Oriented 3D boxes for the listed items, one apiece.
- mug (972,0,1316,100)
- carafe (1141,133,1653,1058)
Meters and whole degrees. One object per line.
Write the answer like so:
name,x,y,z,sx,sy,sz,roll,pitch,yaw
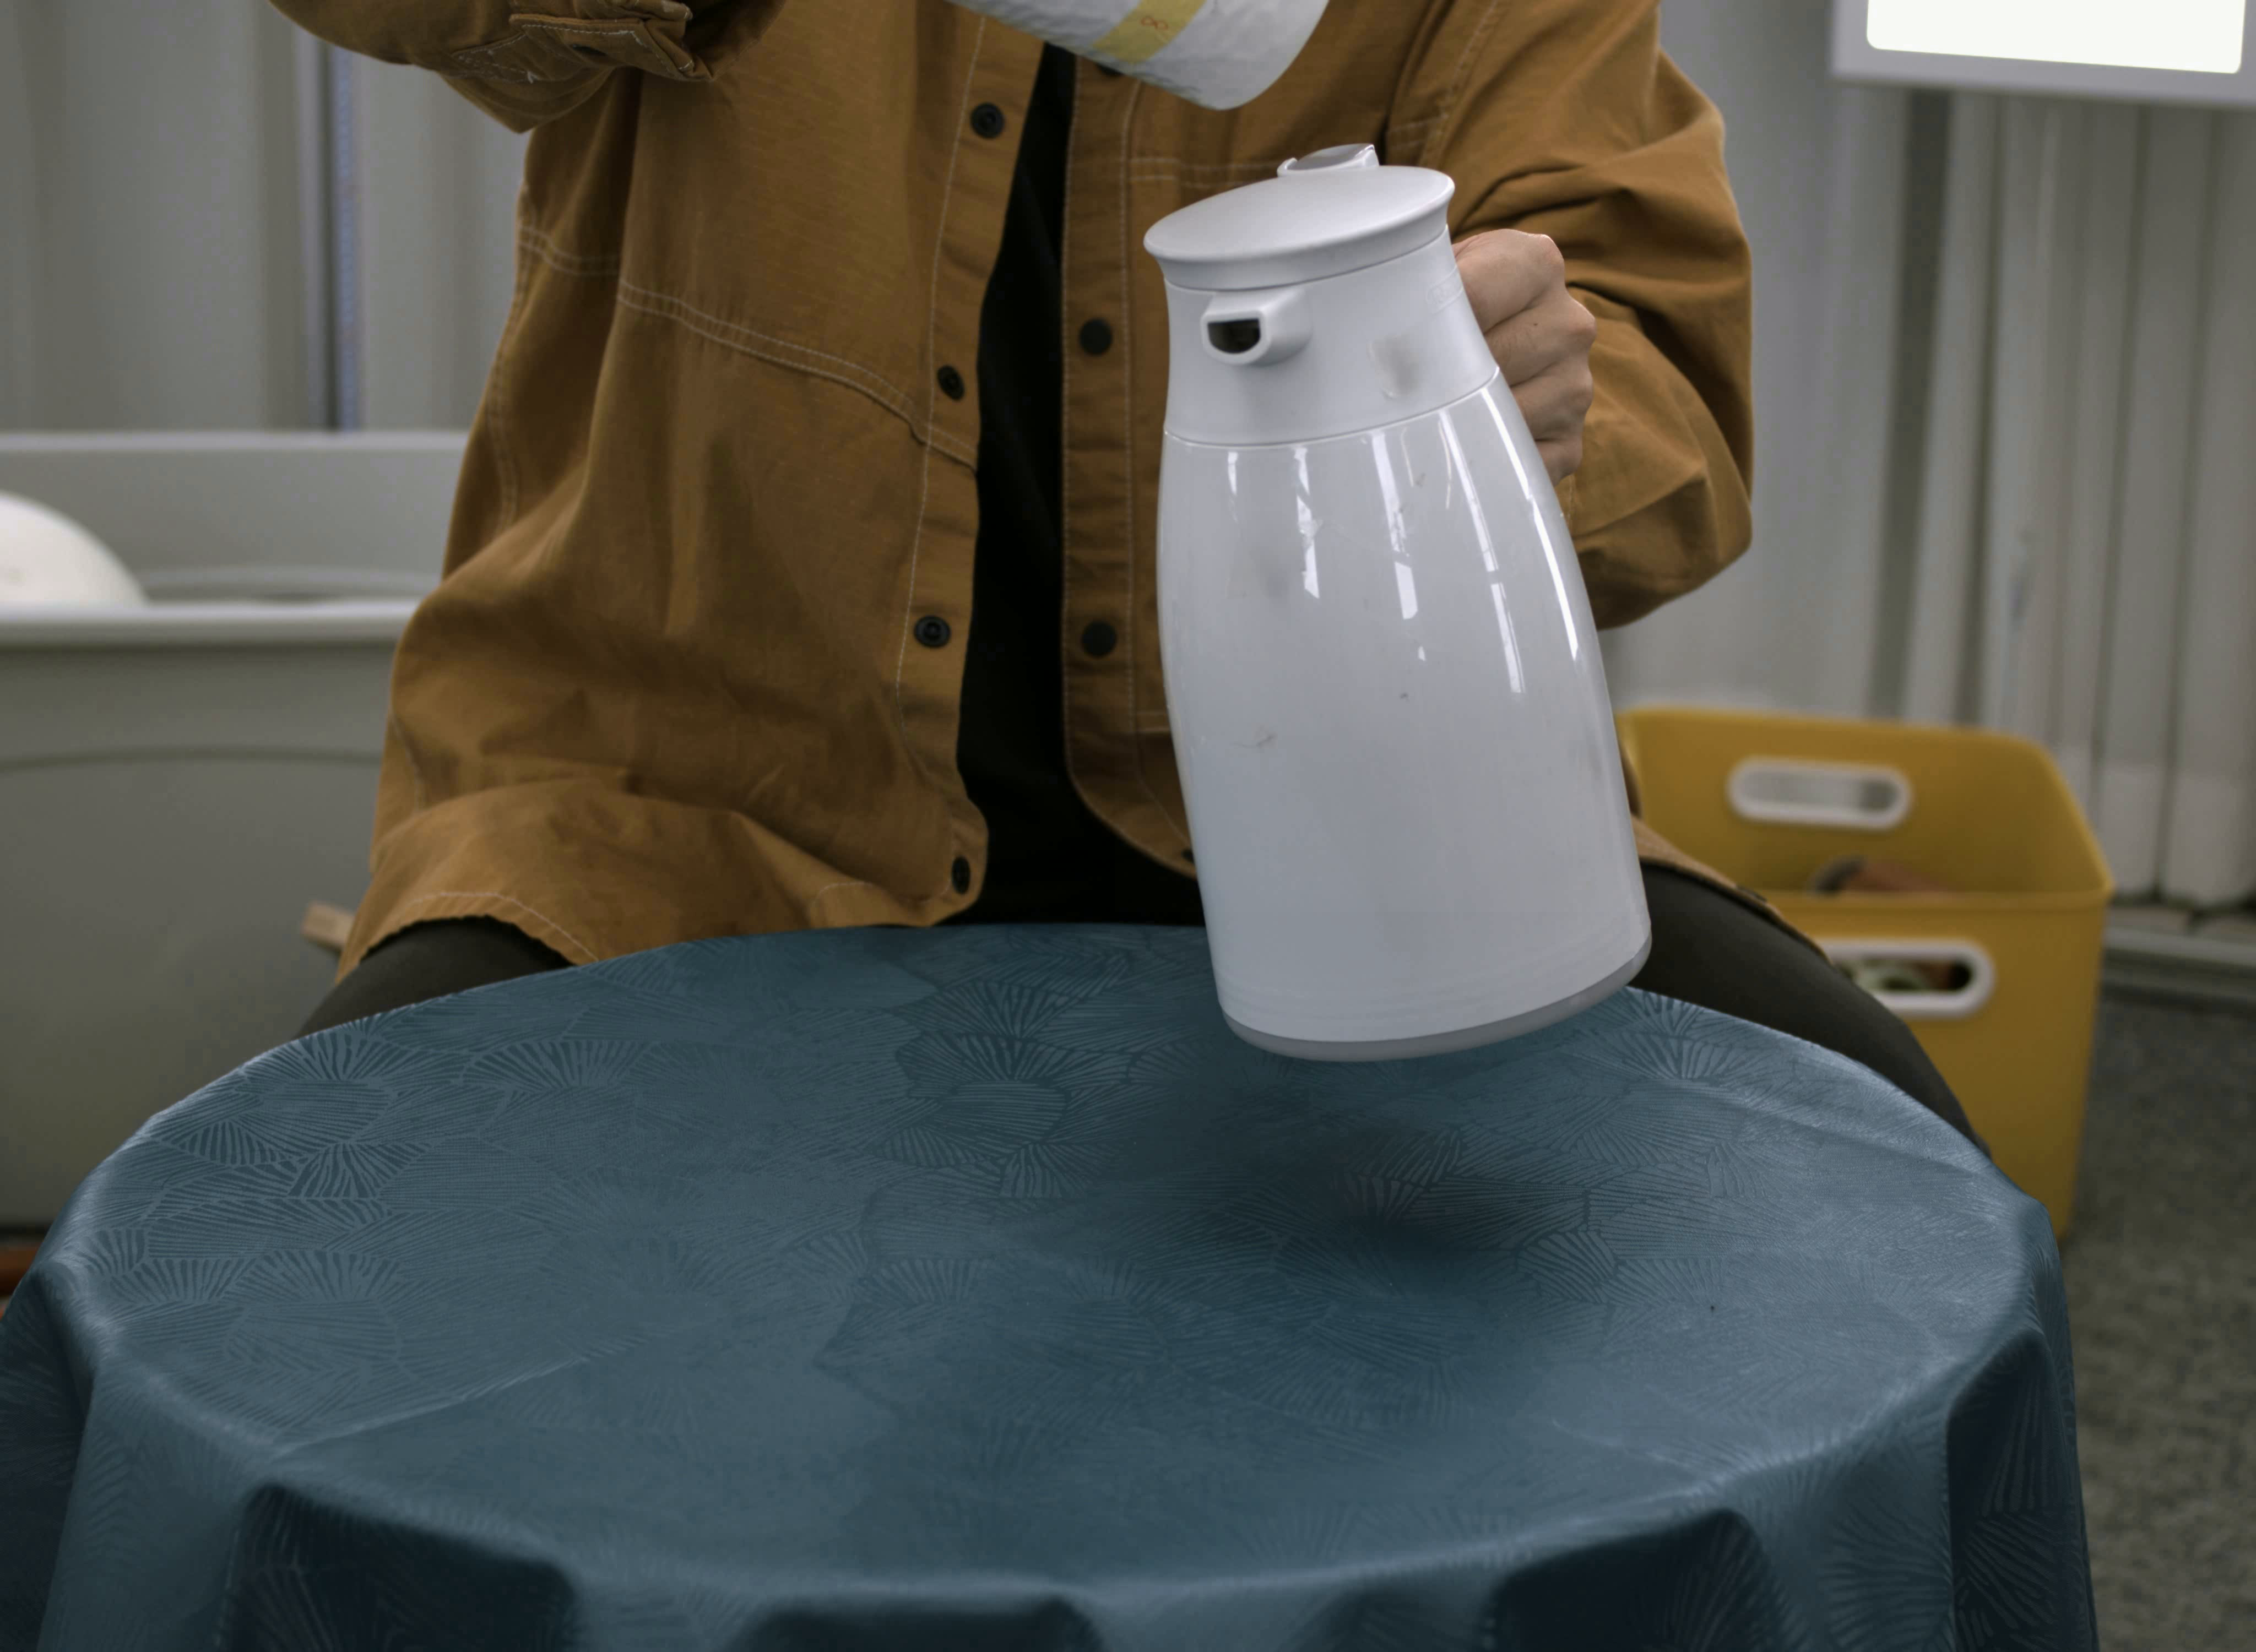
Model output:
mug,-0.010,-0.265,1.466,0.103,0.085,0.116,17,20,-31
carafe,0.075,-0.077,1.566,0.131,0.251,0.167,-4,20,22
